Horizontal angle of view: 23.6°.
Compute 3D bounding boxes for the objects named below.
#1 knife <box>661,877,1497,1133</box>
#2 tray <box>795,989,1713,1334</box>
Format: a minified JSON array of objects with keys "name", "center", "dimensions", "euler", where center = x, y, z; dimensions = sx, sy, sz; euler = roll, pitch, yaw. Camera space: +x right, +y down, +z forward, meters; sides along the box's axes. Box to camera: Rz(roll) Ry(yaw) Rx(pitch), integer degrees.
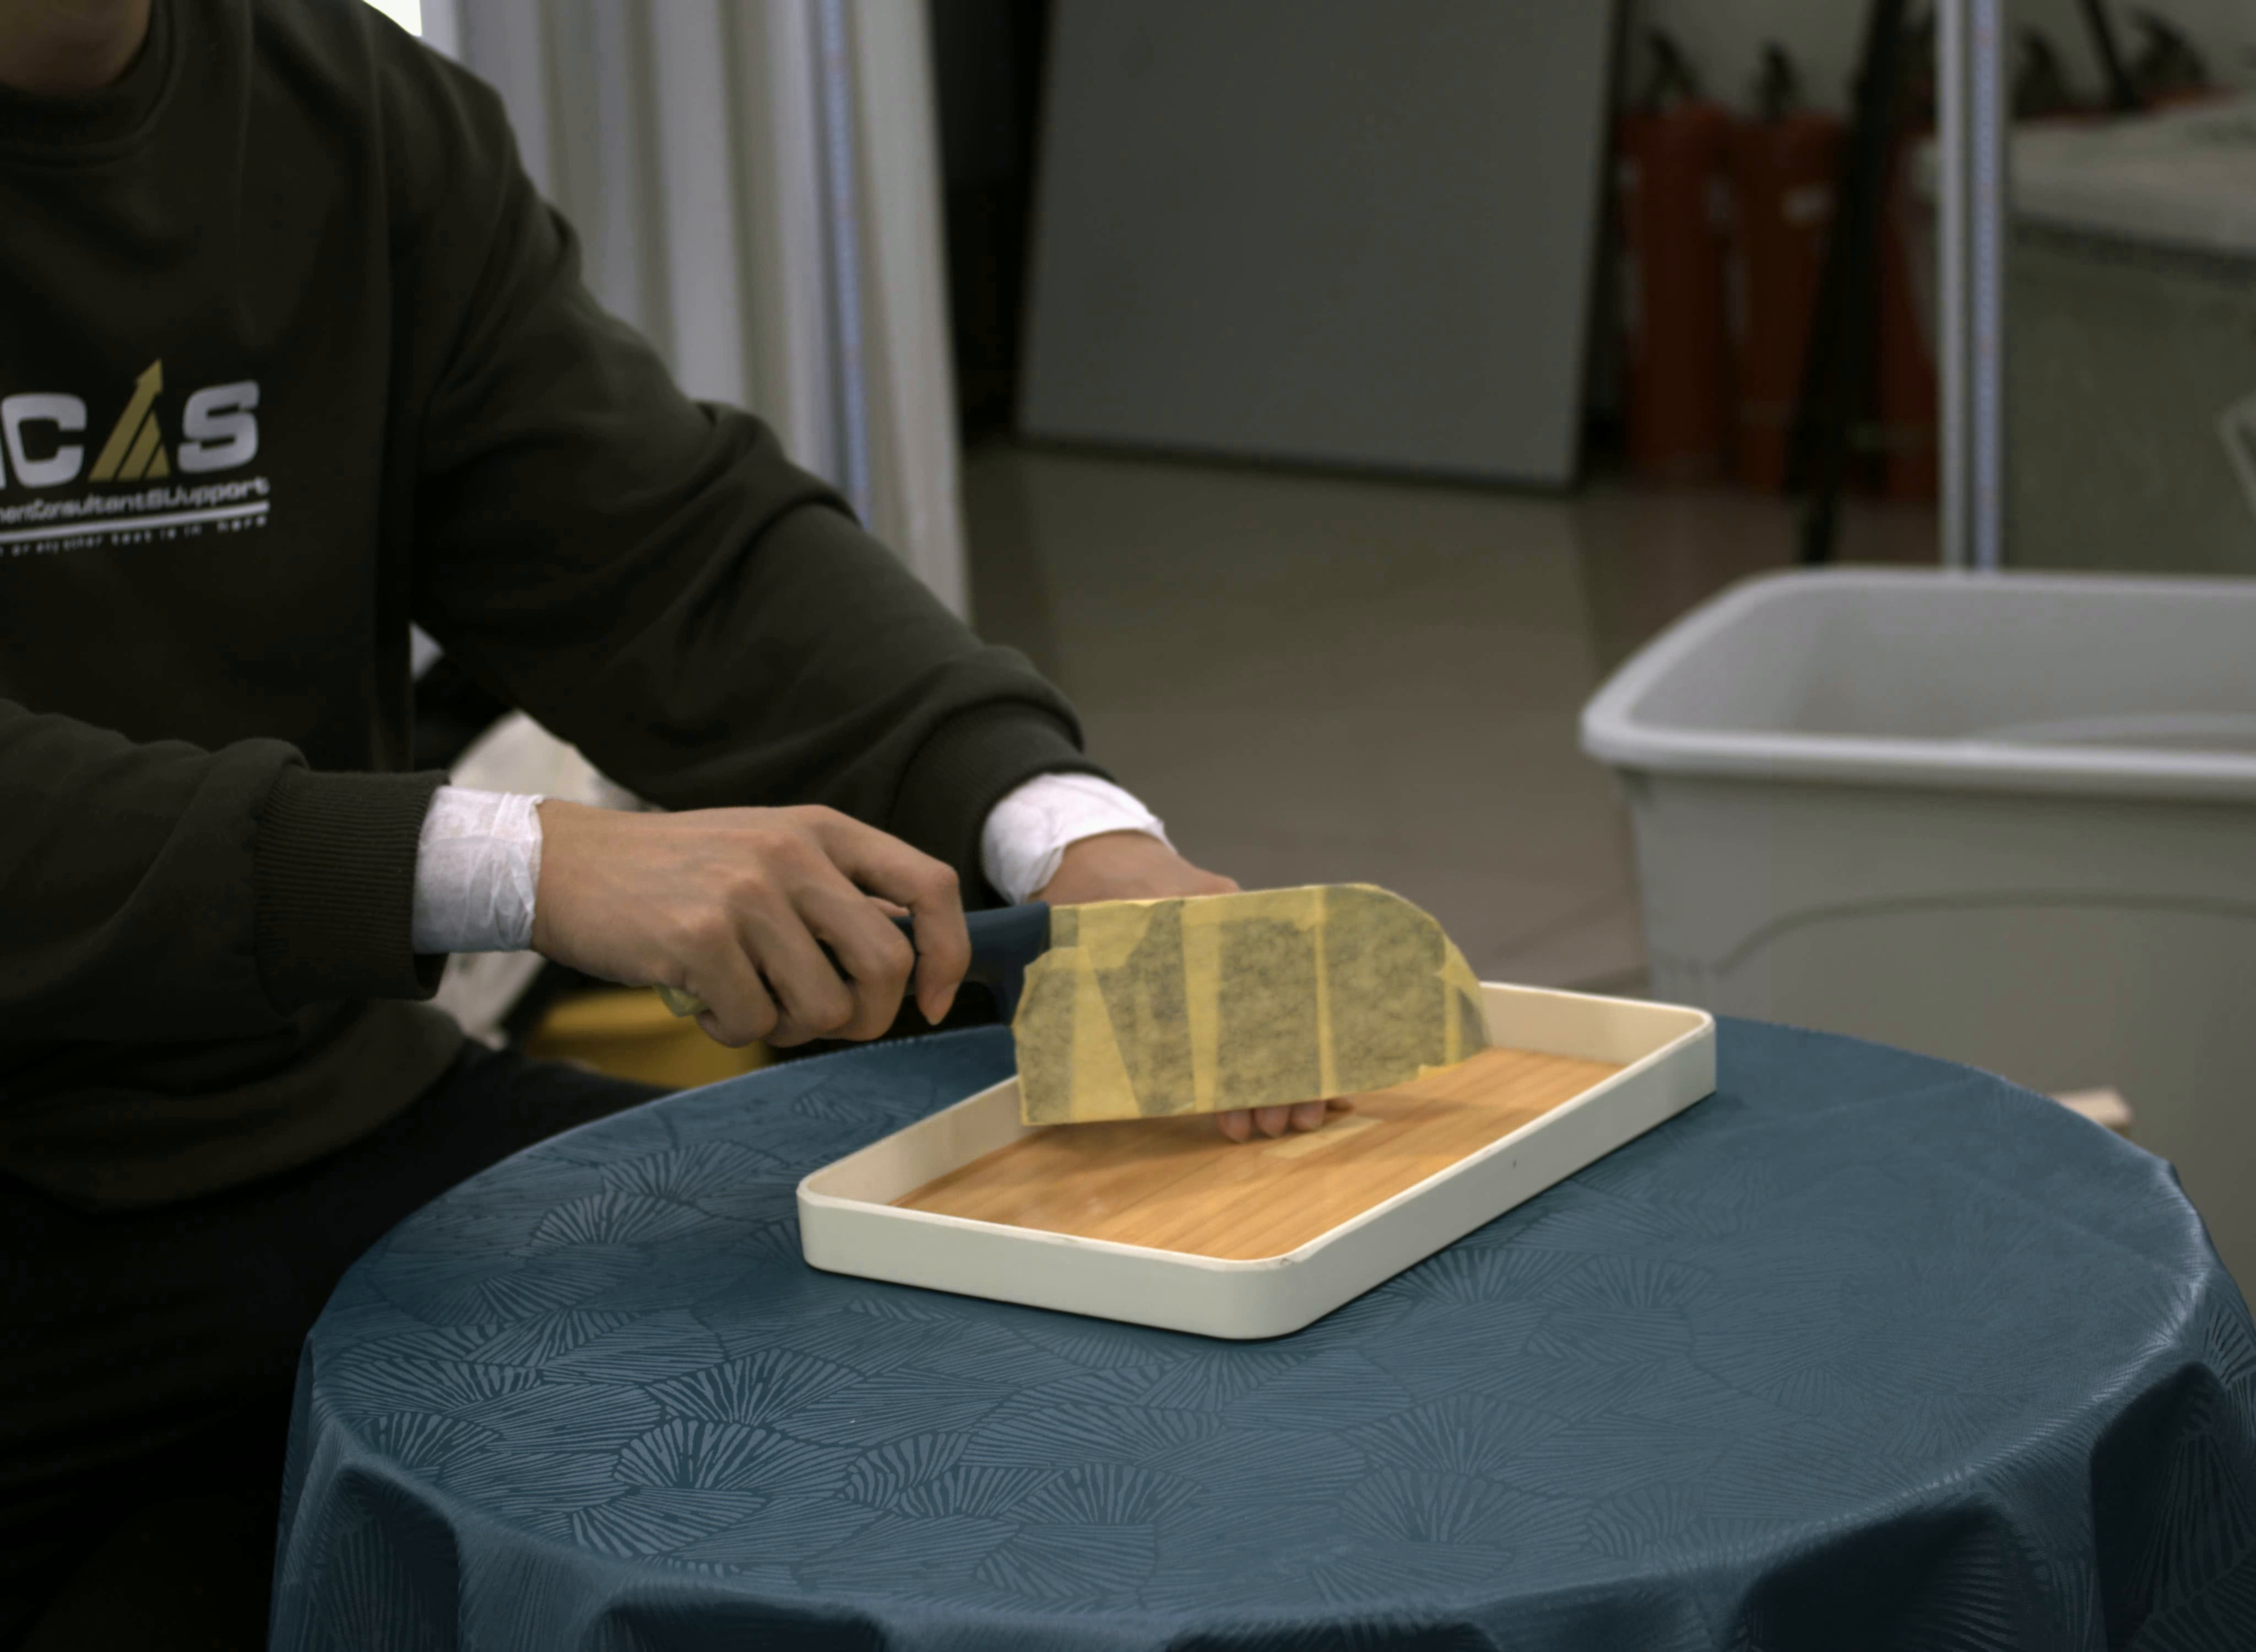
[{"name":"knife","center":[-0.012,0.059,1.773],"dimensions":[0.284,0.082,0.027],"euler":[-1,0,-15]},{"name":"tray","center":[0.047,0.104,1.779],"dimensions":[0.193,0.028,0.295],"euler":[4,15,35]}]
